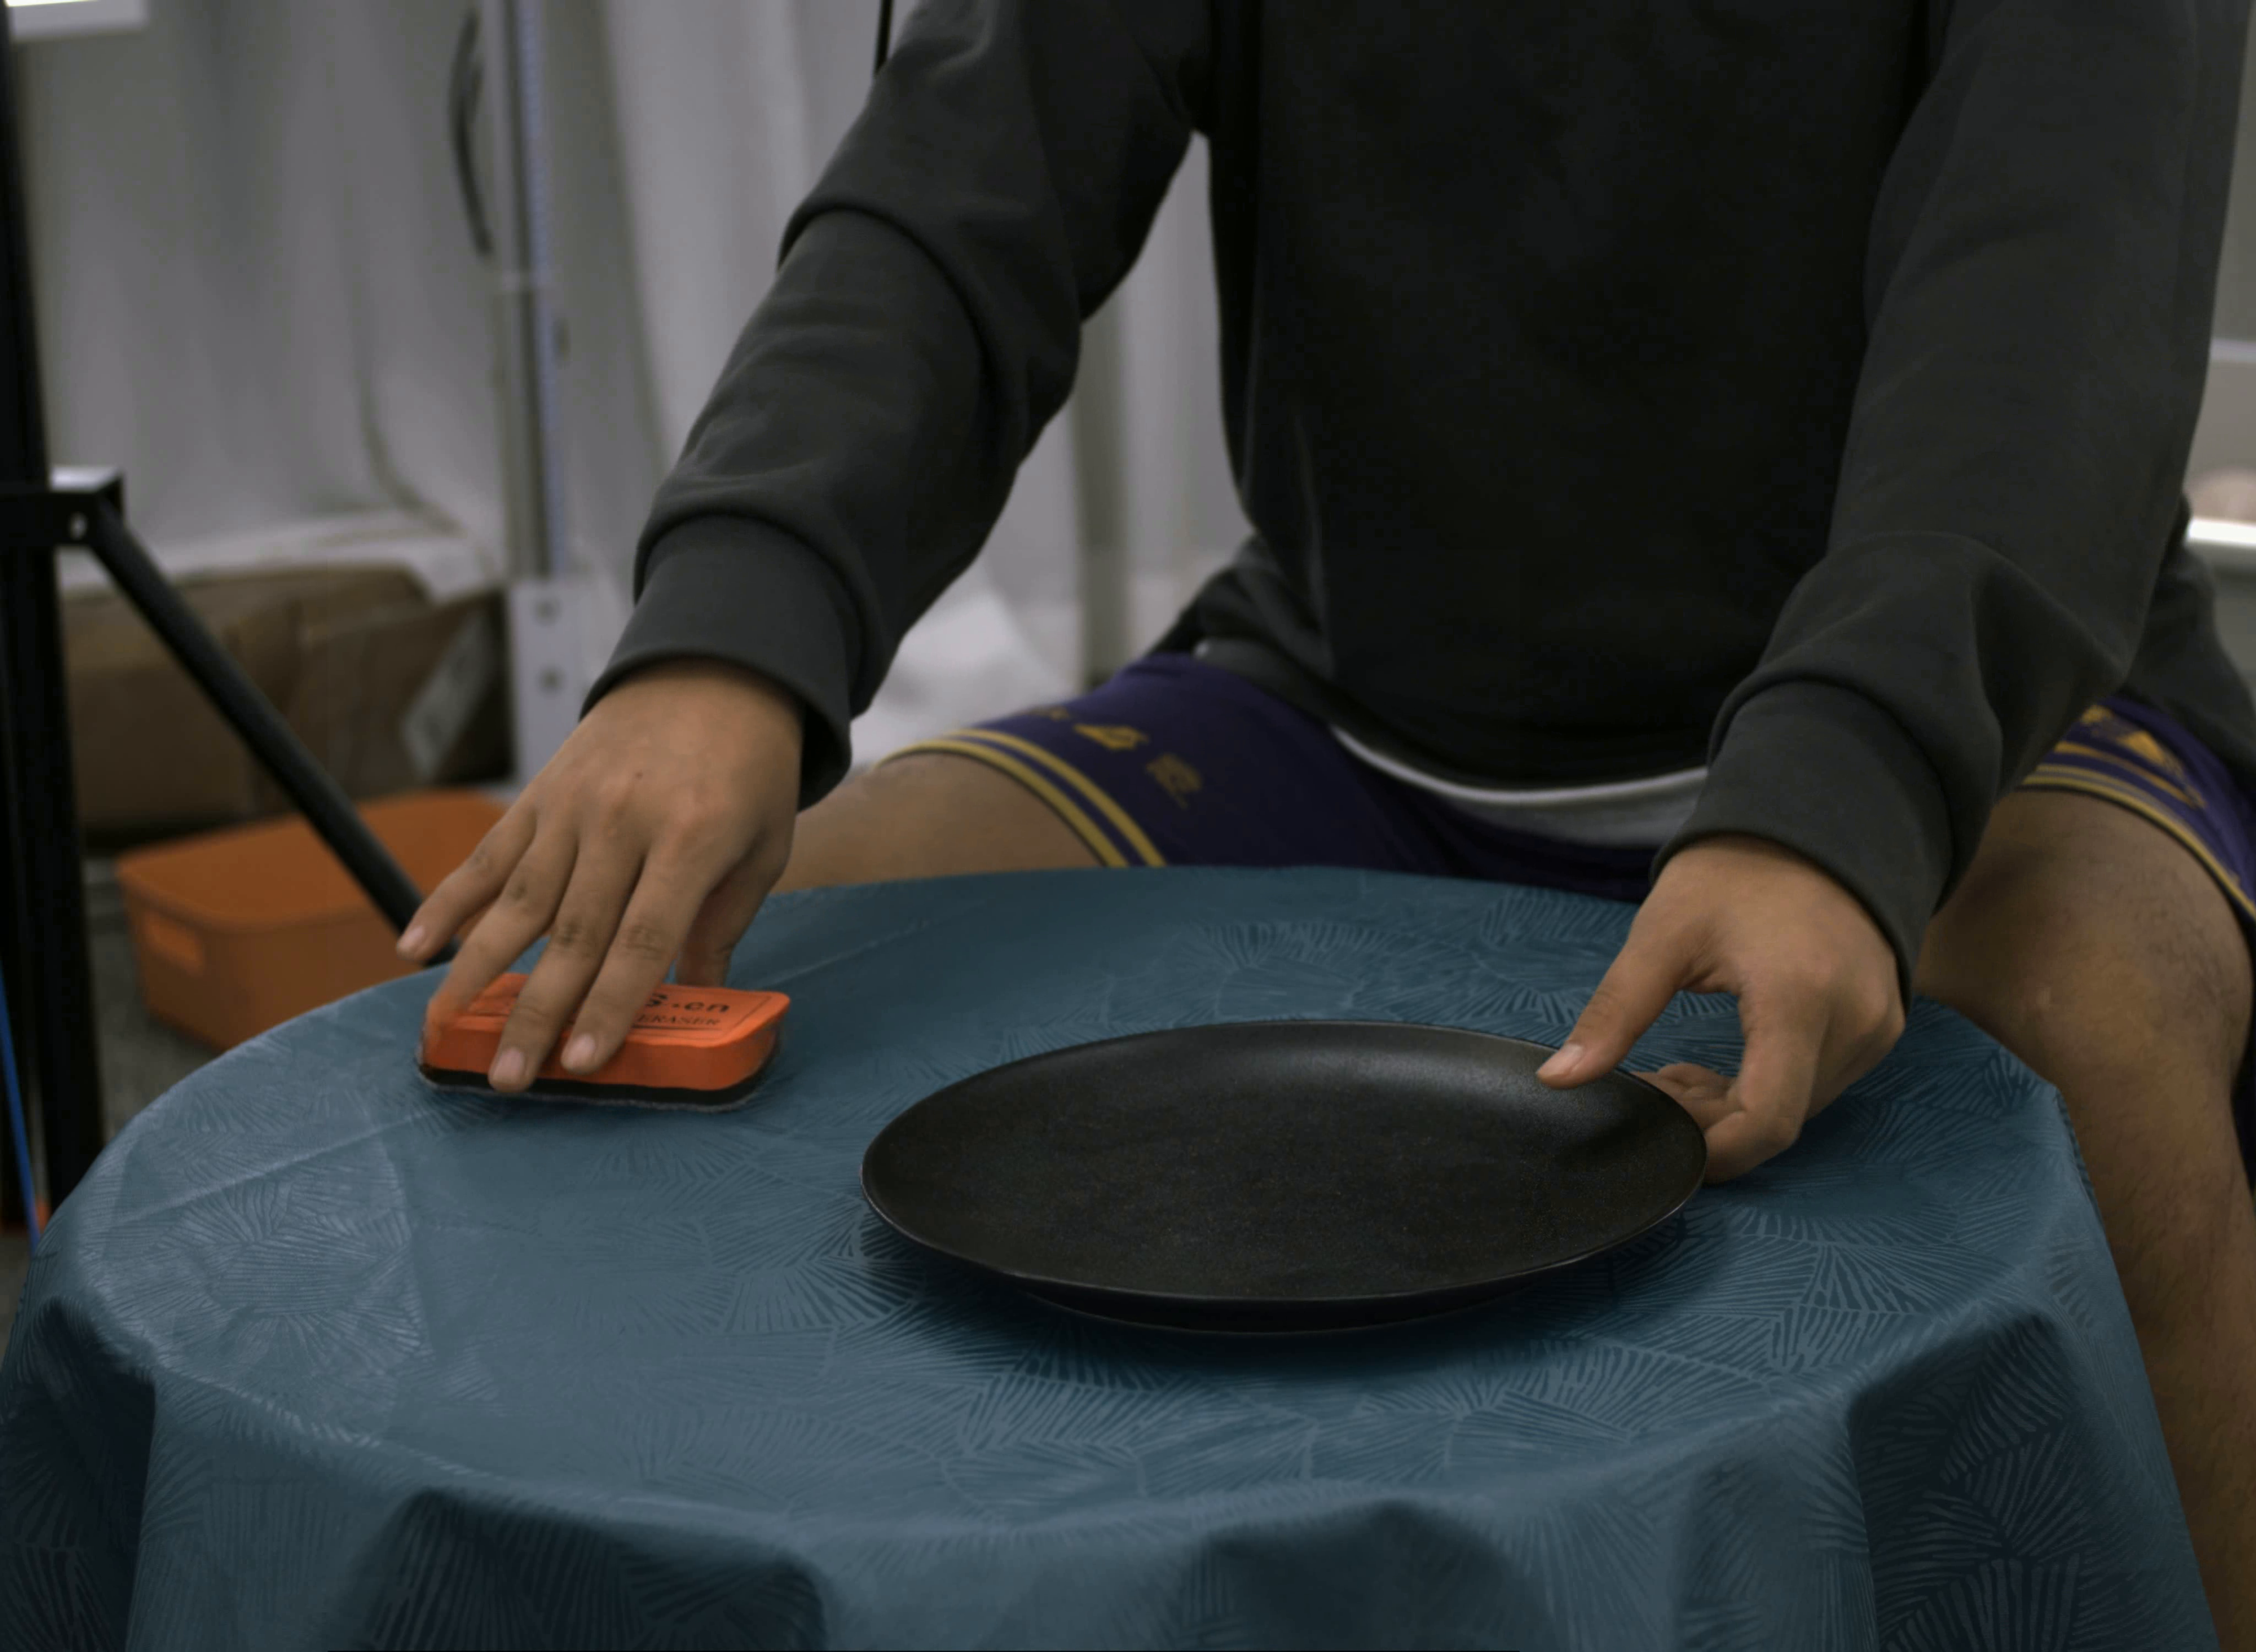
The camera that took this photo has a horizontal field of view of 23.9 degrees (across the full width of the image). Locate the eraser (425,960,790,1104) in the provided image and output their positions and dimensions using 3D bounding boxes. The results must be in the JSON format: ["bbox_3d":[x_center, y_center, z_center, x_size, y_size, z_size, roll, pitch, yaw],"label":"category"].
[{"bbox_3d":[-0.164,0.065,1.686,0.109,0.023,0.058,5,19,20],"label":"eraser"}]

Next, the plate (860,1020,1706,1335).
[{"bbox_3d":[0.045,0.104,1.526,0.243,0.023,0.245,-3,16,-1],"label":"plate"}]
